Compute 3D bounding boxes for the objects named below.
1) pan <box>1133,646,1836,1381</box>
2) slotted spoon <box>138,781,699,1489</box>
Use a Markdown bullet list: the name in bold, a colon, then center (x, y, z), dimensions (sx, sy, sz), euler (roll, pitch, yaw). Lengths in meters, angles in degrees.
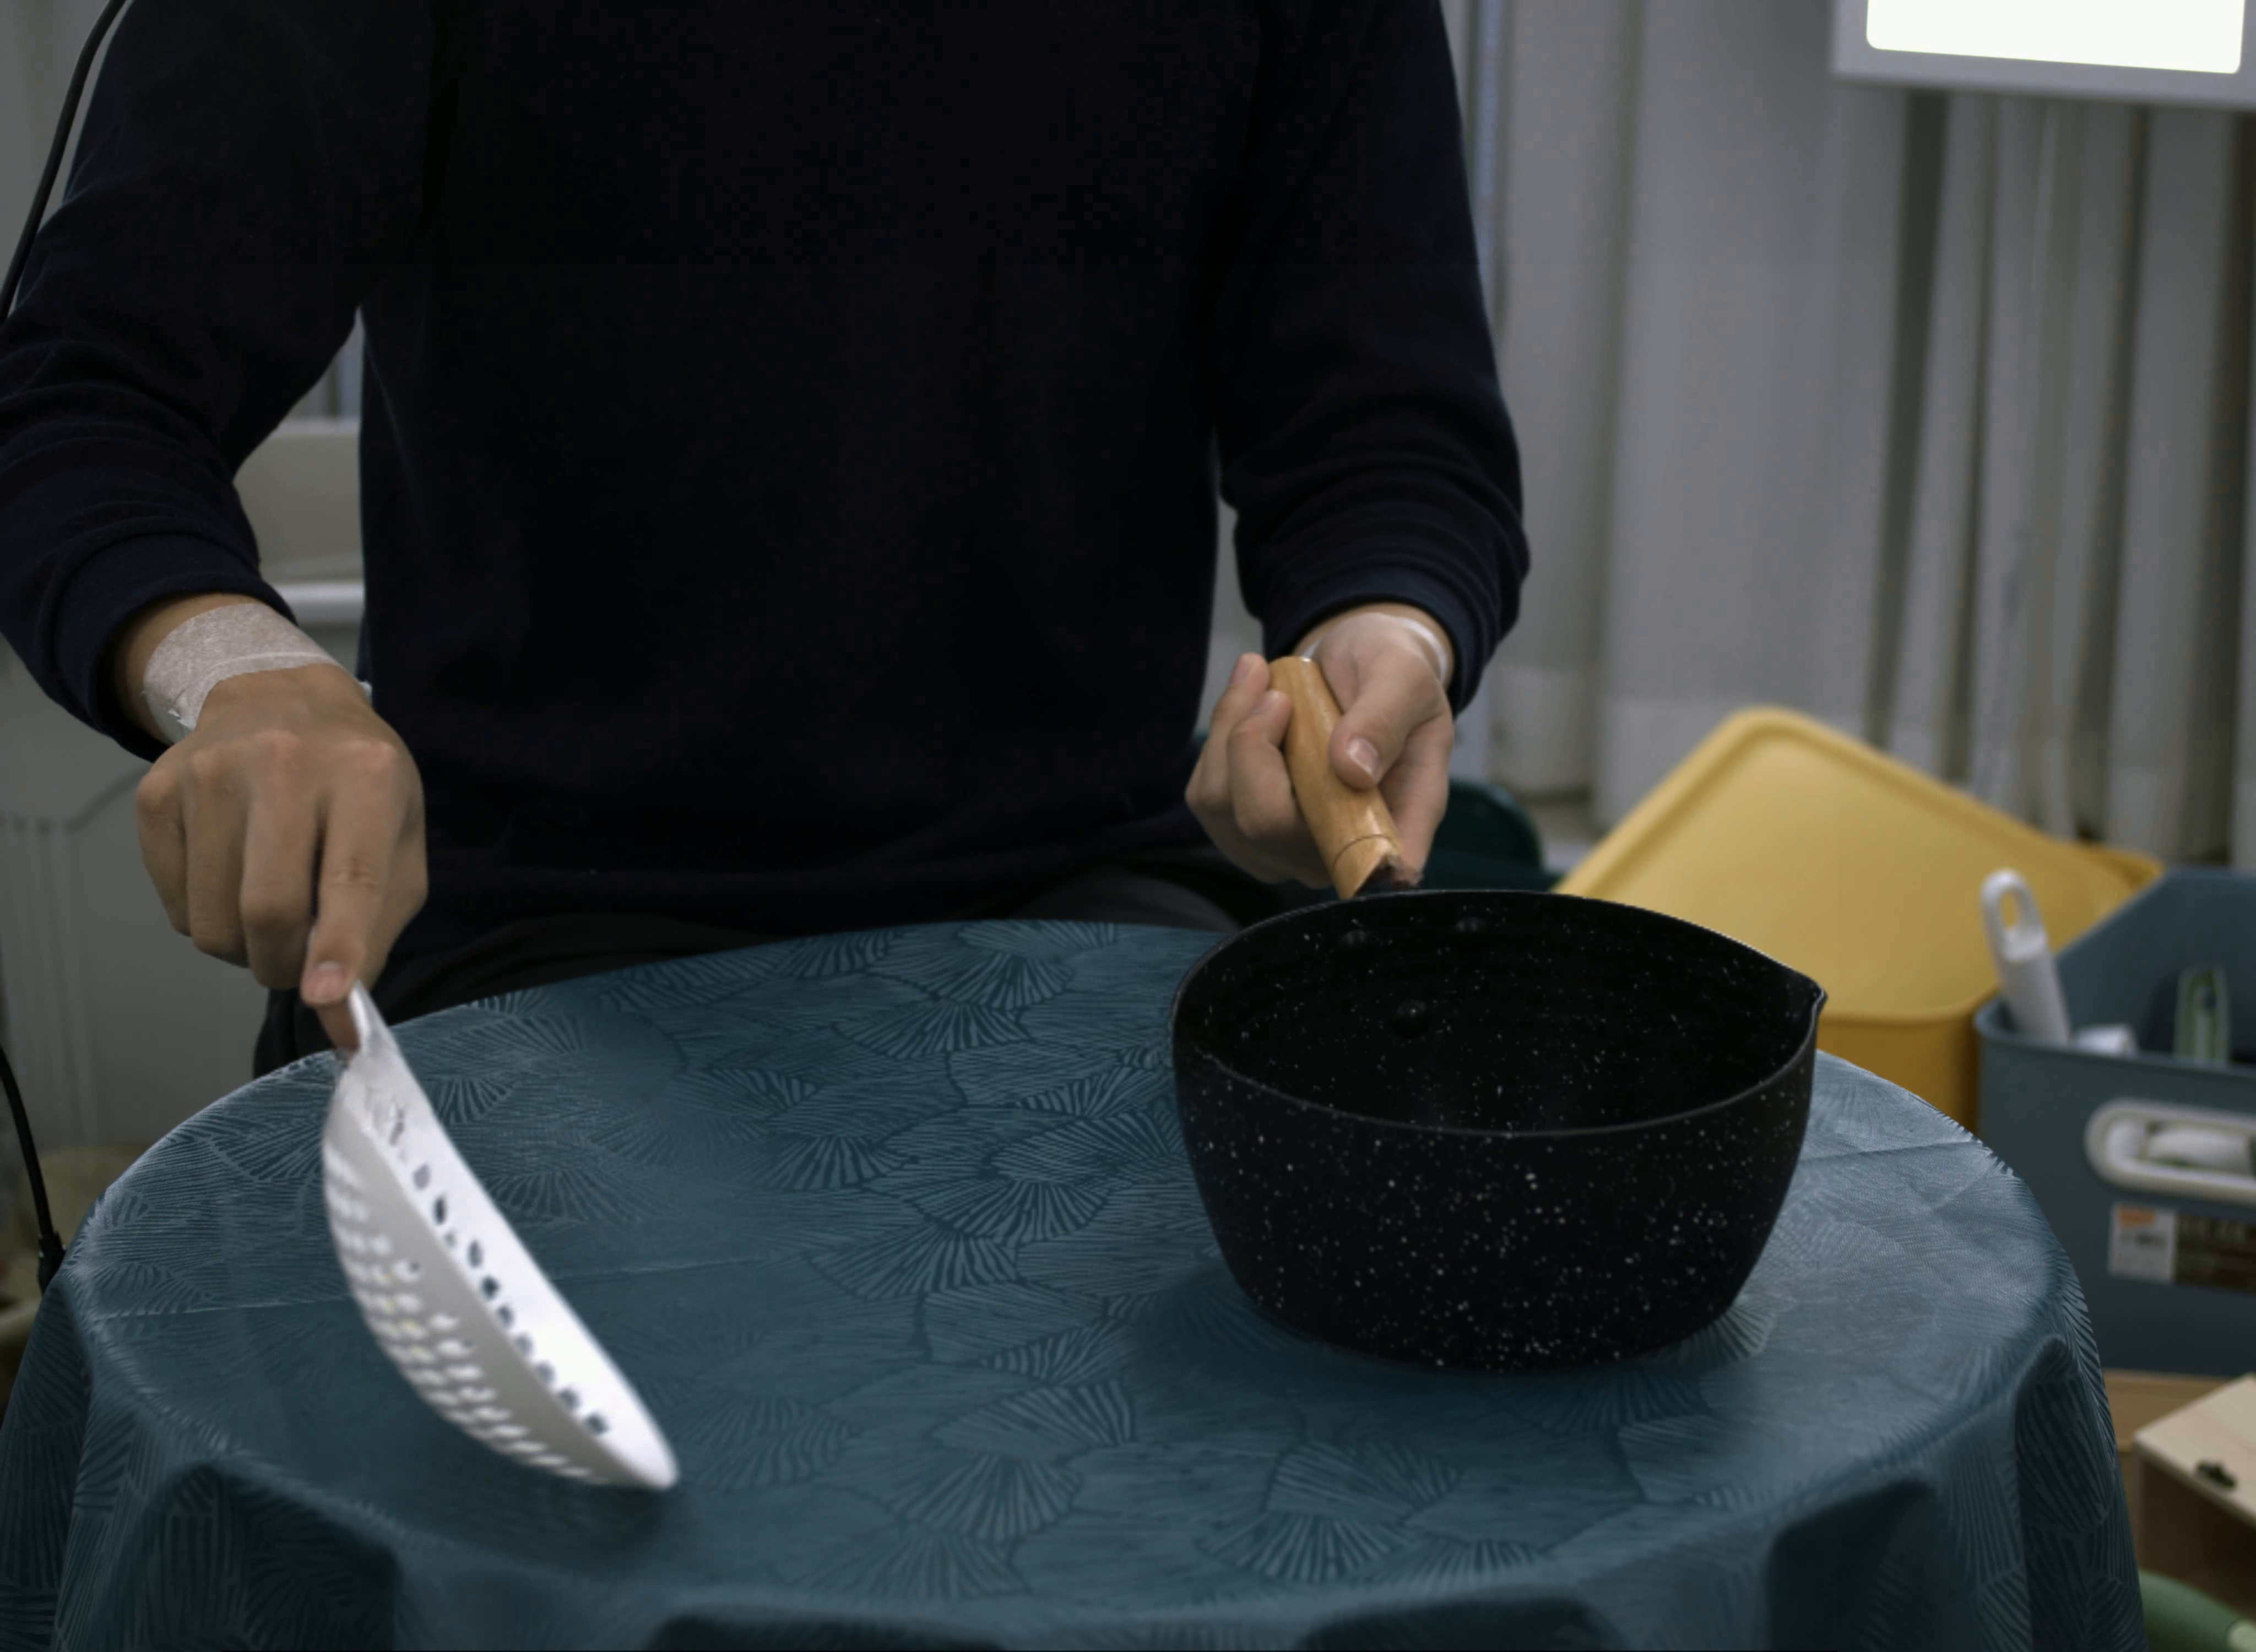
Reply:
- **pan**: center (0.087, 0.051, 1.596), dimensions (0.207, 0.109, 0.339), euler (-5, 23, -13)
- **slotted spoon**: center (-0.211, 0.071, 1.448), dimensions (0.050, 0.139, 0.343), euler (-37, 39, 2)
